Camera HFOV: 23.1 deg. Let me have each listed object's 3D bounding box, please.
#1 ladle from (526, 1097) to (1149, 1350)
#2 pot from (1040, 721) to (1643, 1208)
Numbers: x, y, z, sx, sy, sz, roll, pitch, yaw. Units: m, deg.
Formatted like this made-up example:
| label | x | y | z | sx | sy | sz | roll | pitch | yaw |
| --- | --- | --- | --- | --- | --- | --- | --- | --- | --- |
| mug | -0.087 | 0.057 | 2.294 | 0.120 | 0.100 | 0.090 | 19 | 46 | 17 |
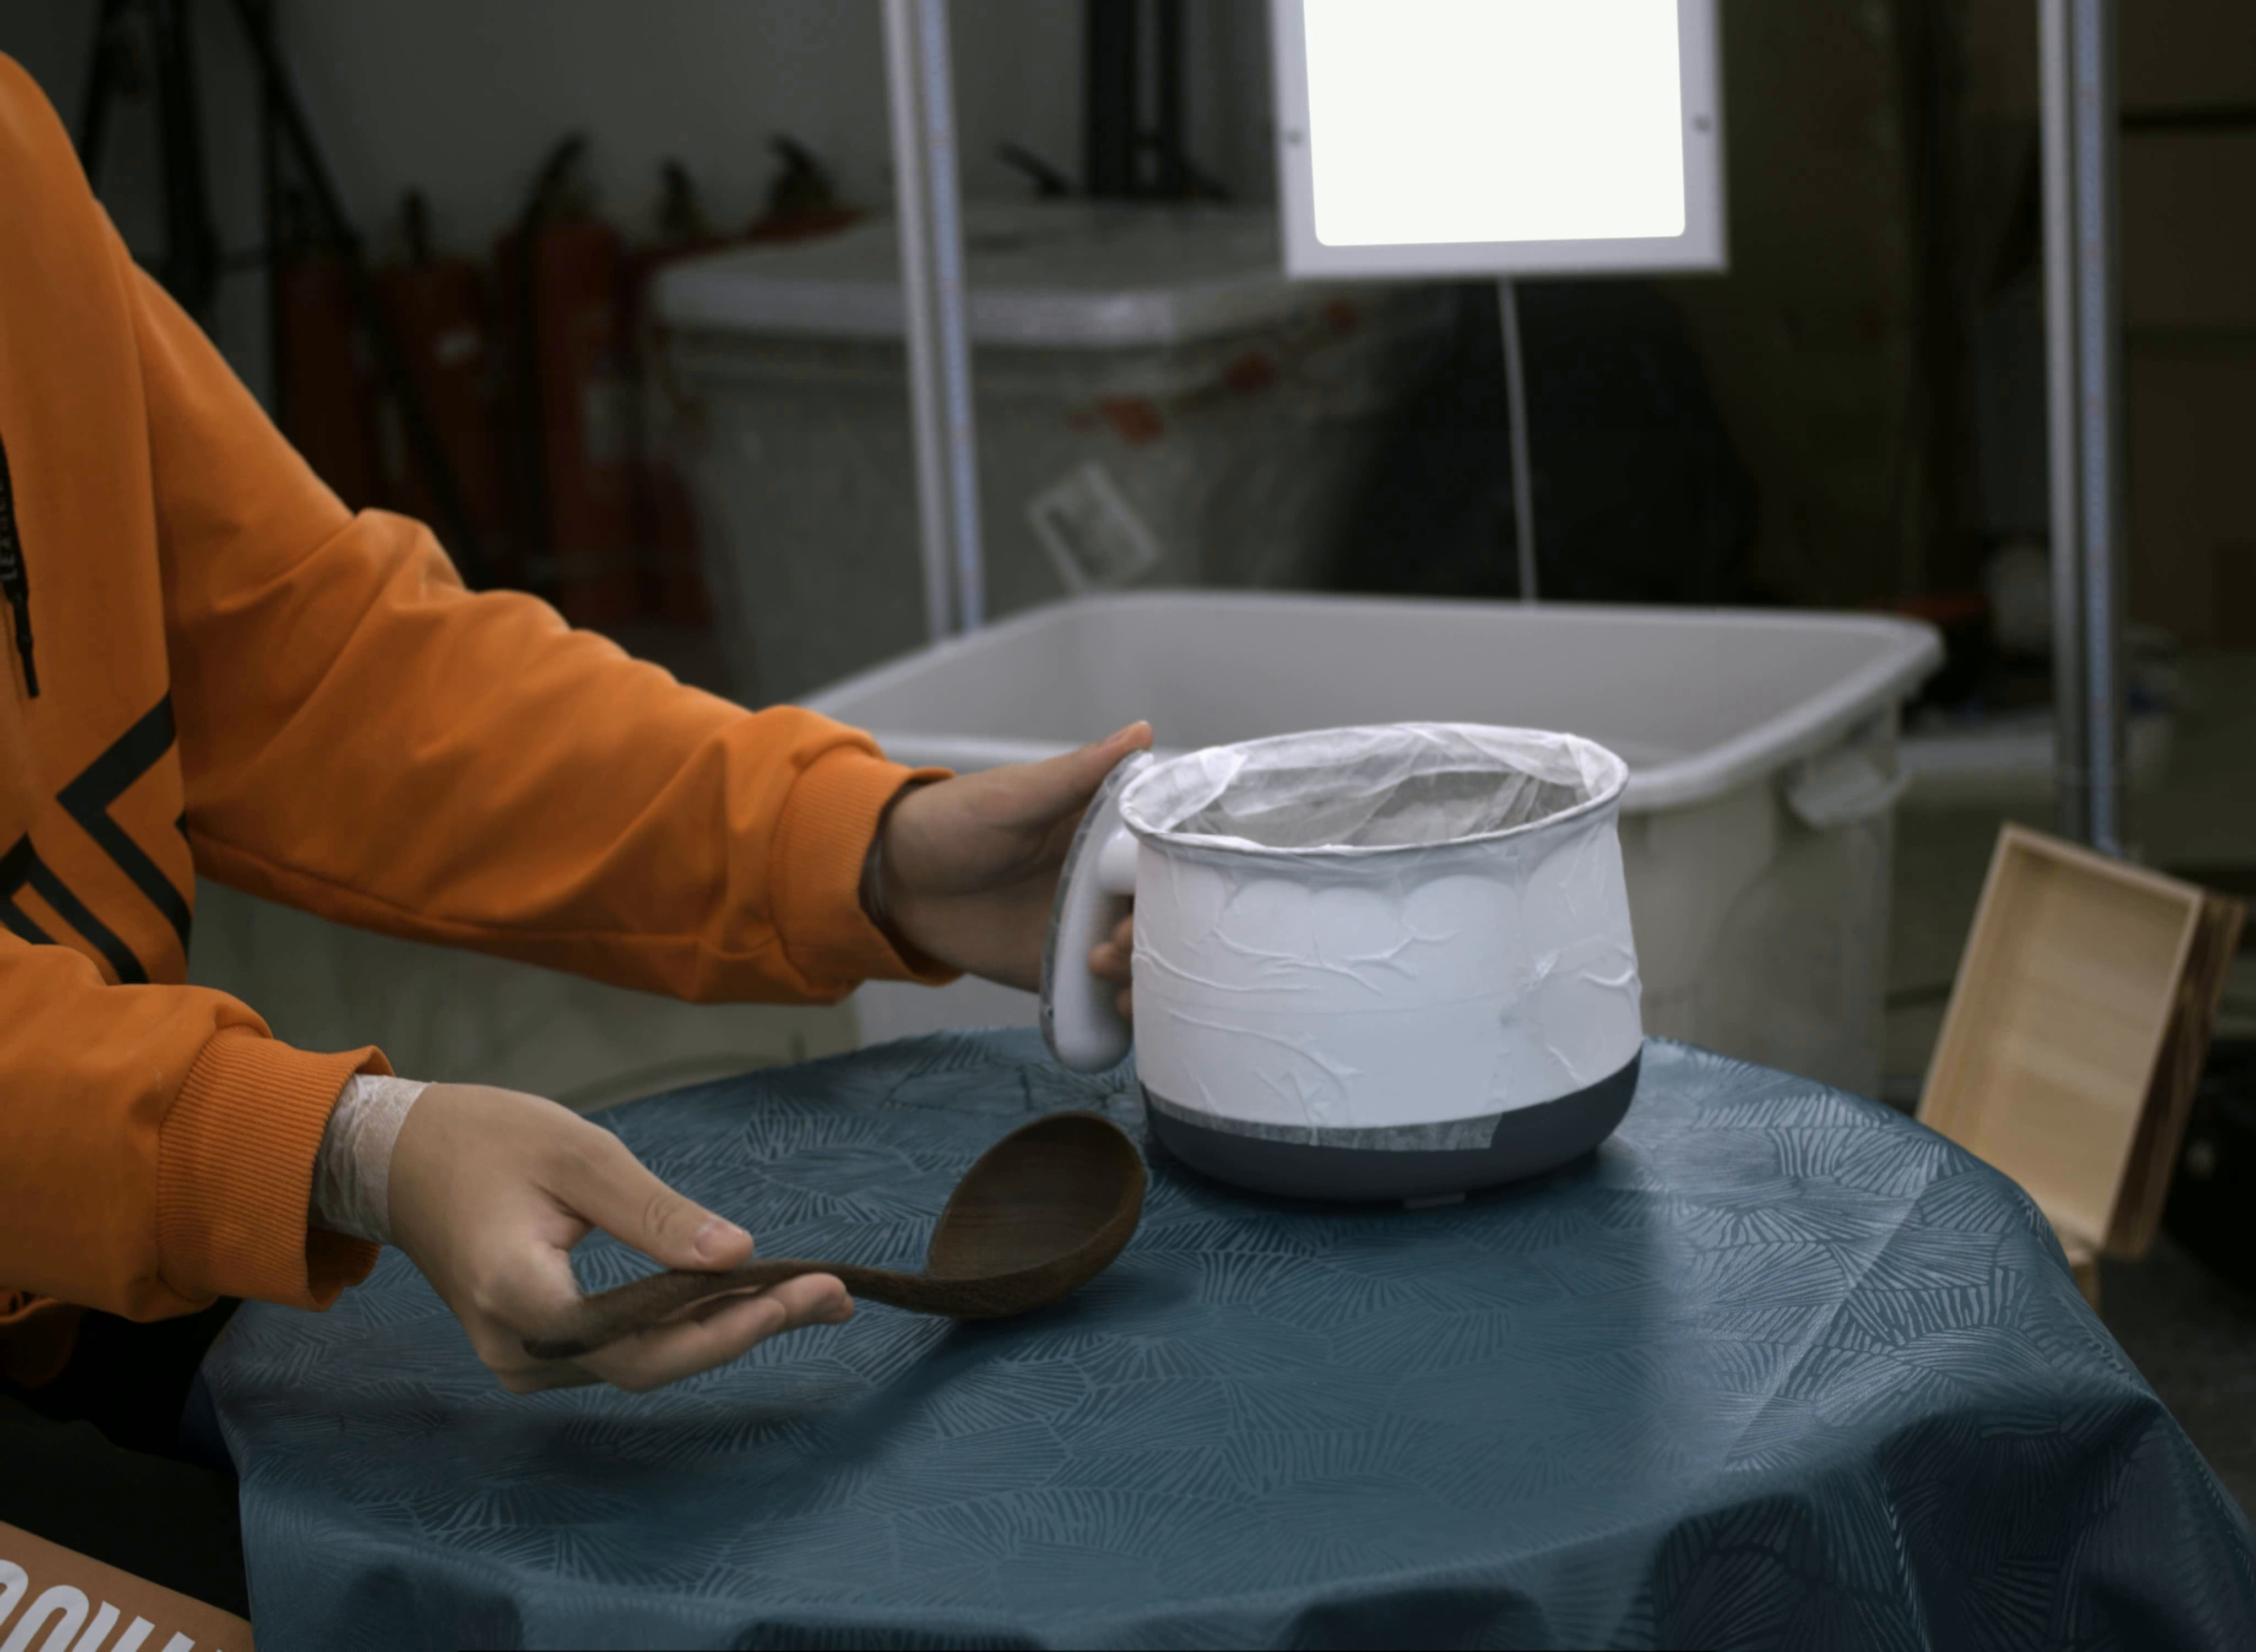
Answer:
| label | x | y | z | sx | sy | sz | roll | pitch | yaw |
| --- | --- | --- | --- | --- | --- | --- | --- | --- | --- |
| ladle | -0.090 | 0.121 | 1.713 | 0.077 | 0.071 | 0.267 | -8 | -7 | 37 |
| pot | 0.066 | 0.044 | 1.918 | 0.238 | 0.137 | 0.174 | 6 | 17 | 36 |
